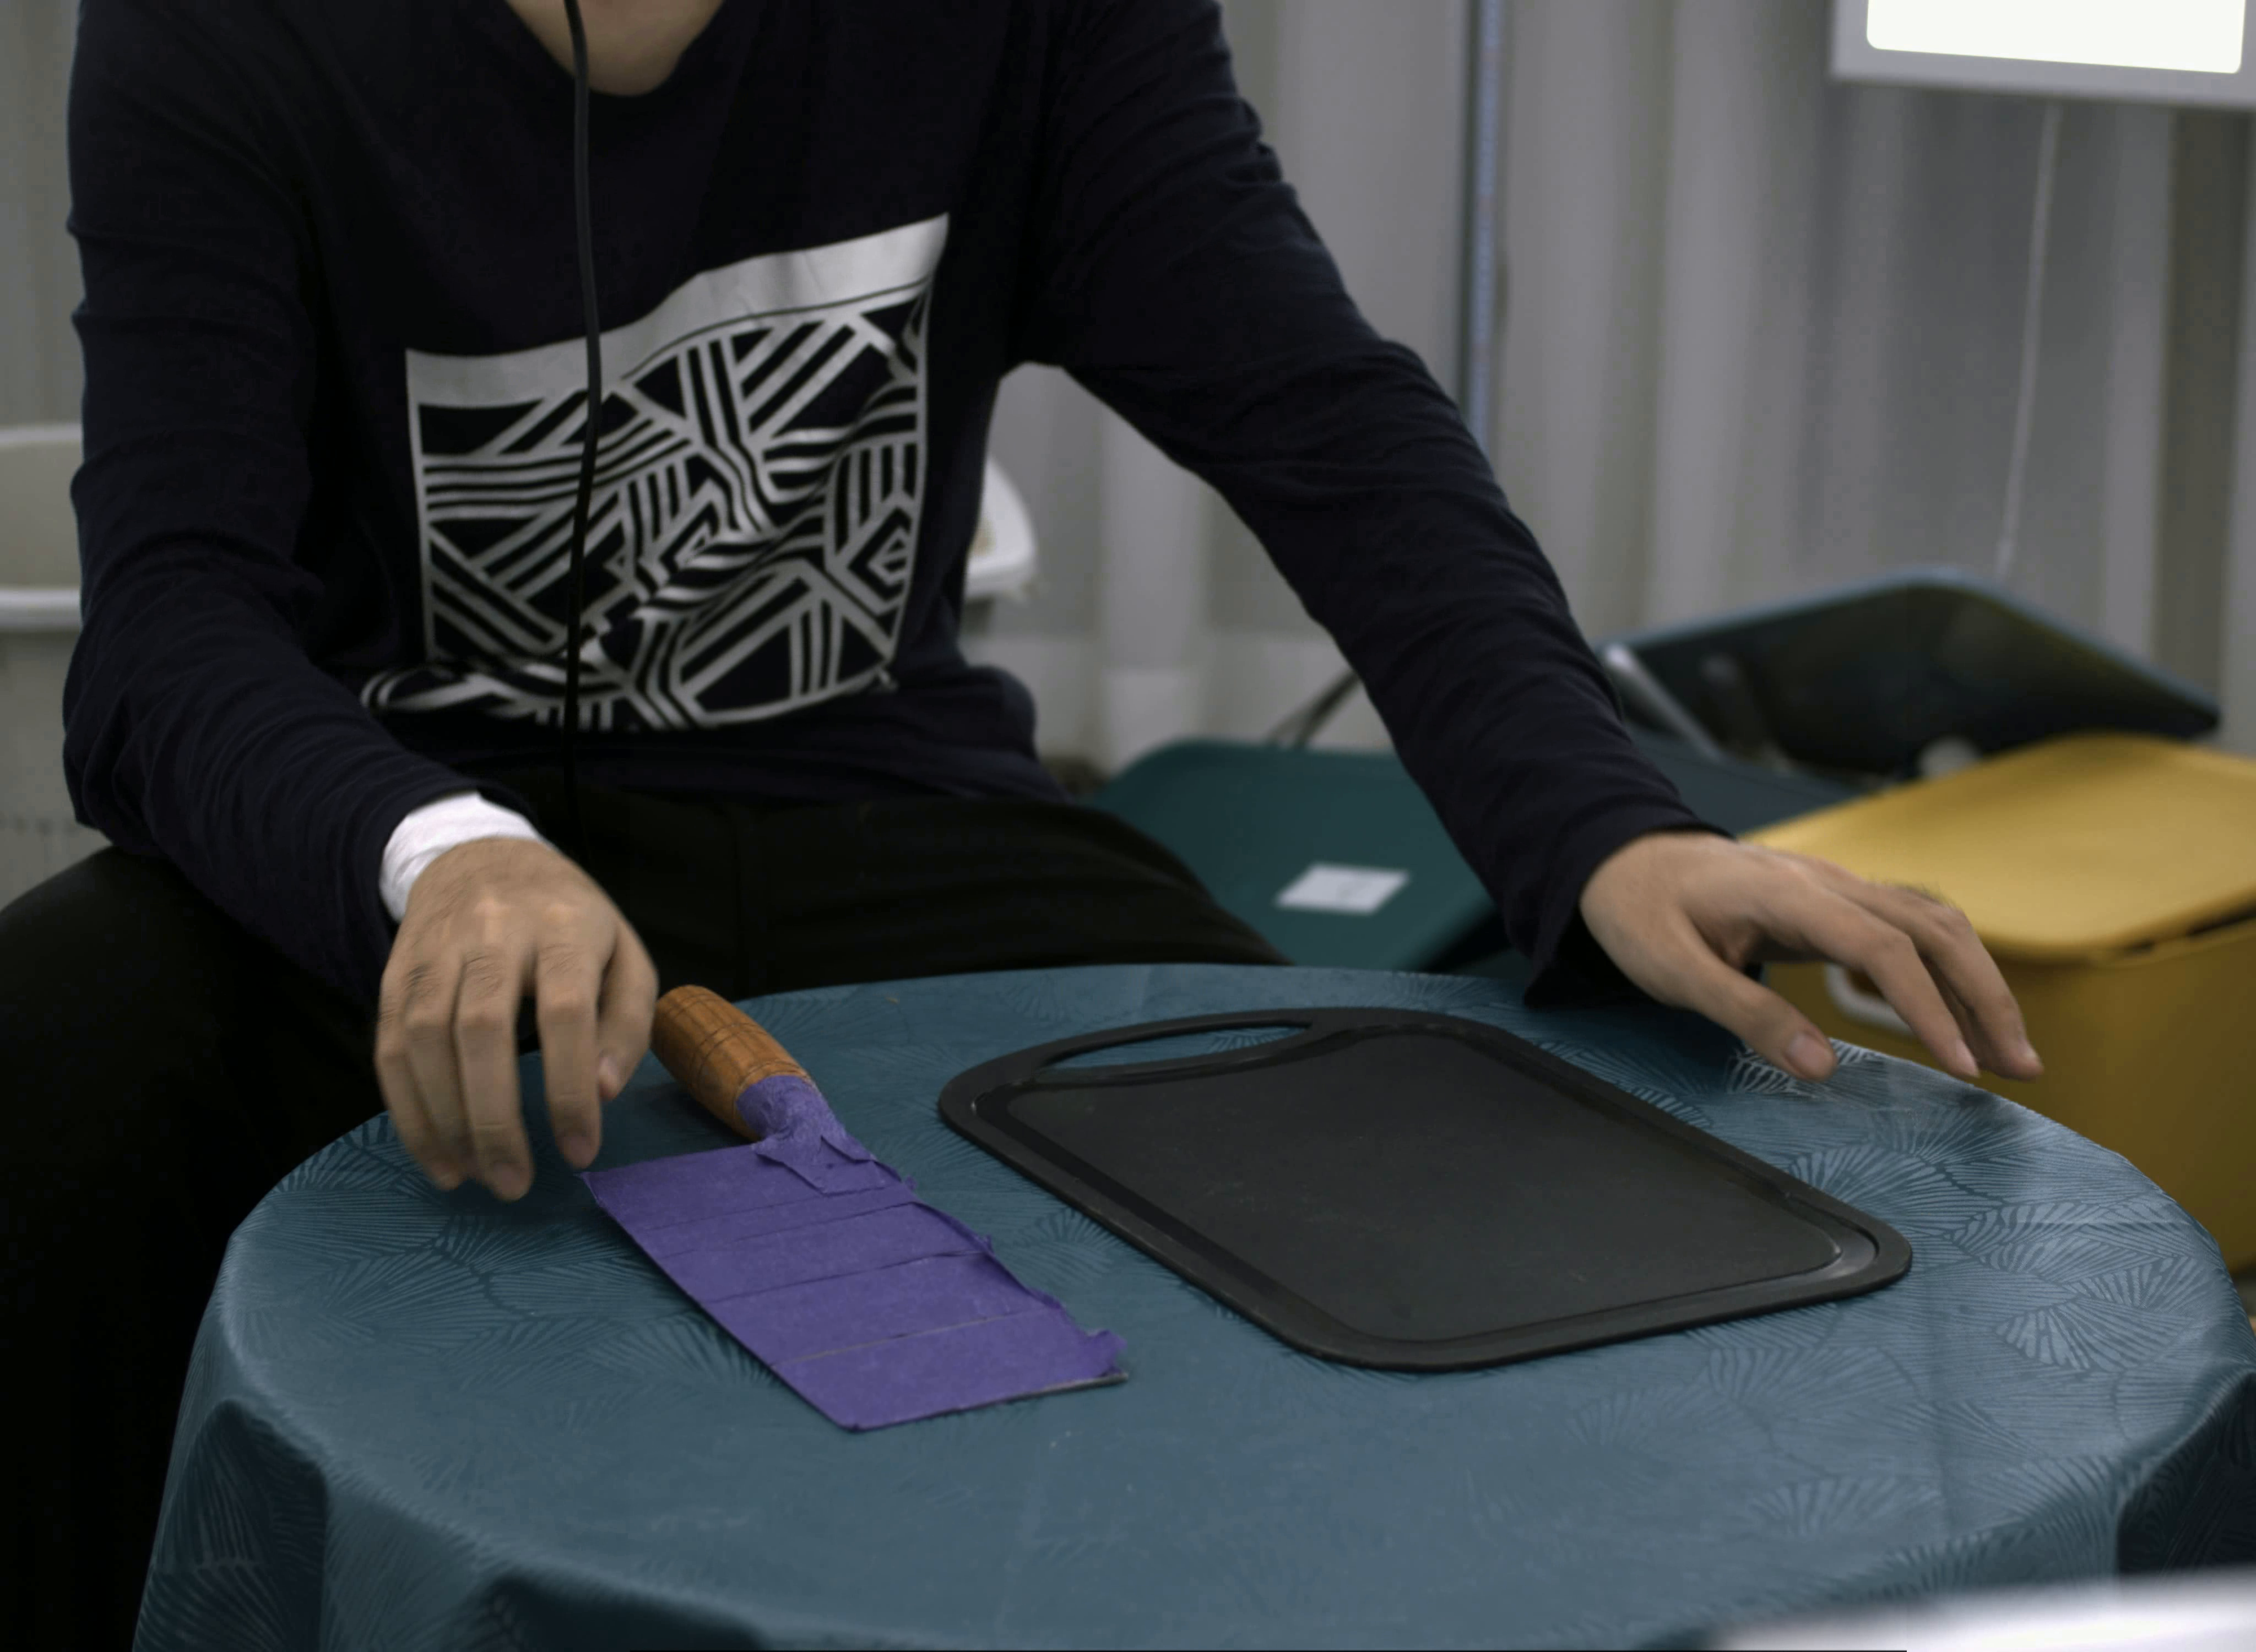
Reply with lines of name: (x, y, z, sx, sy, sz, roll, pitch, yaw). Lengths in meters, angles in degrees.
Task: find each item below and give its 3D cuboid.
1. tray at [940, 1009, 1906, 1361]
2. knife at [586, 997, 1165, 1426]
tray: (0.081, 0.104, 1.644, 0.212, 0.010, 0.321, -7, 17, -27)
knife: (-0.104, 0.111, 1.575, 0.104, 0.032, 0.311, -7, 18, -27)
